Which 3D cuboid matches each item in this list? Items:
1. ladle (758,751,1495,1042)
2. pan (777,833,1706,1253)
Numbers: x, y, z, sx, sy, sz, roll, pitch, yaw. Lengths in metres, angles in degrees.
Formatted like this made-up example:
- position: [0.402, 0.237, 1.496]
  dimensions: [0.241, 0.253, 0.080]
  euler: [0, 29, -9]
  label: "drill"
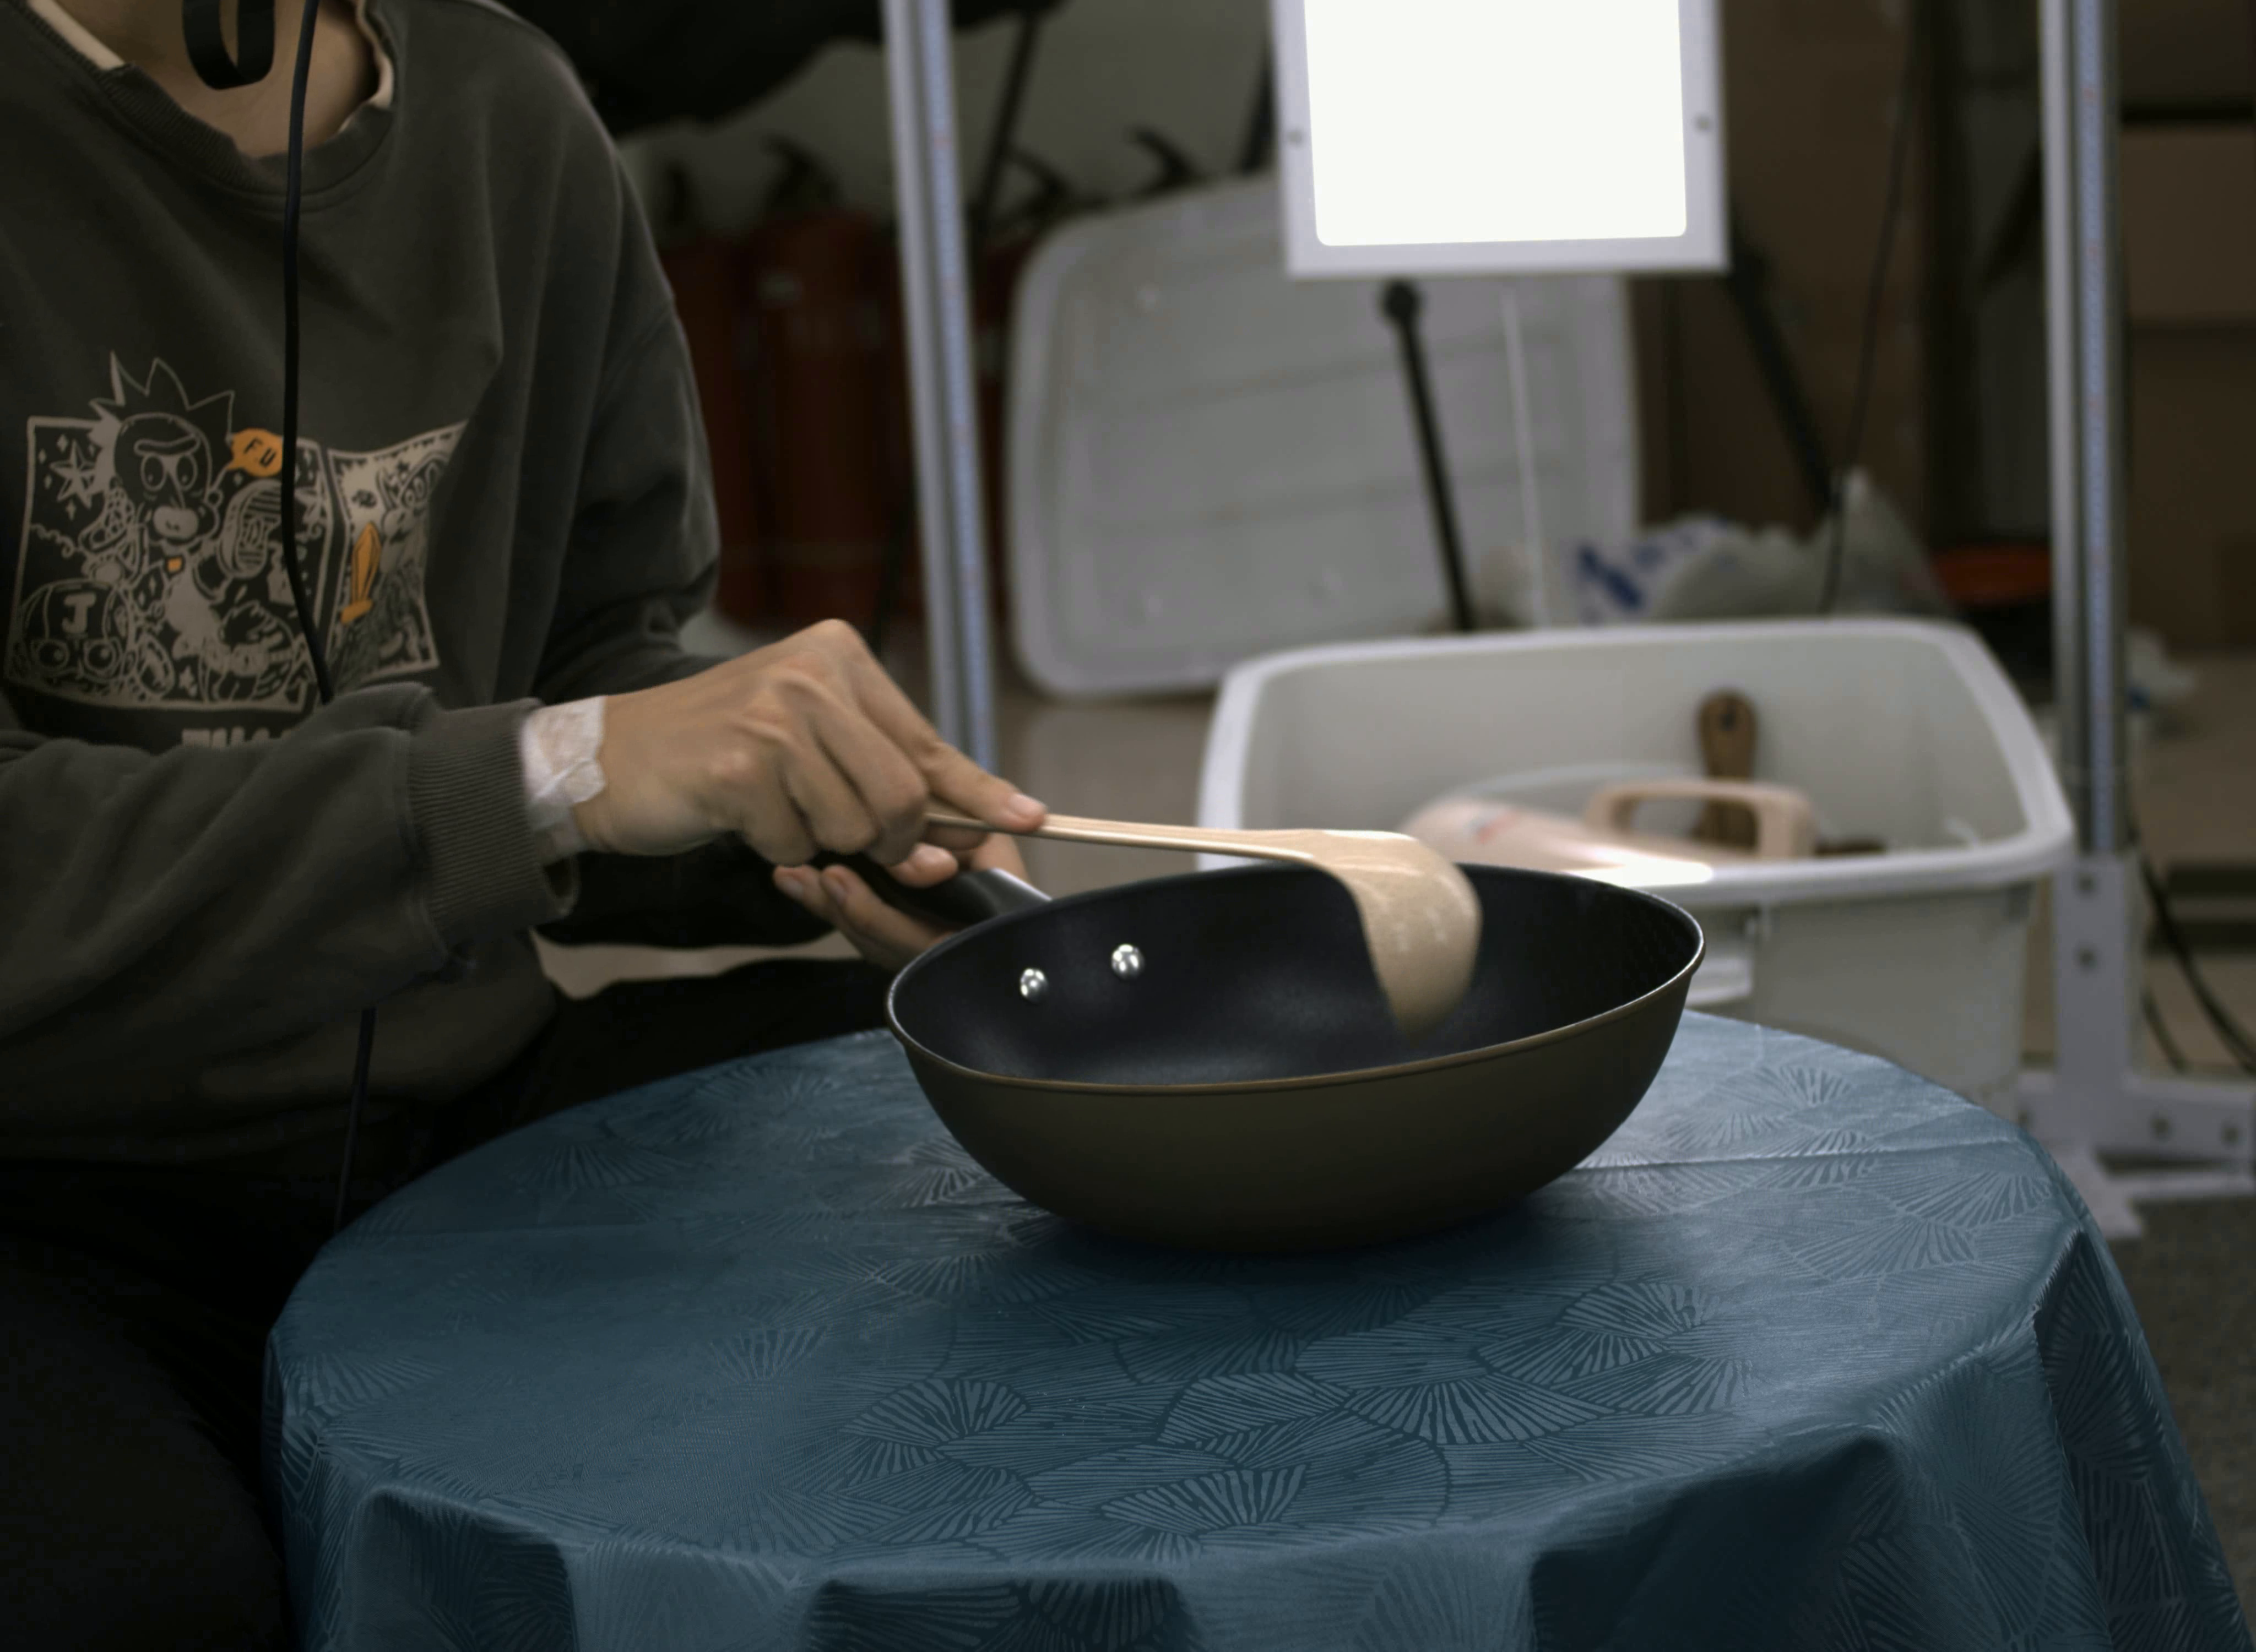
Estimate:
- position: [-0.003, 0.024, 1.875]
  dimensions: [0.254, 0.073, 0.071]
  euler: [7, 34, 3]
  label: "ladle"
- position: [0.004, 0.071, 1.946]
  dimensions: [0.281, 0.087, 0.473]
  euler: [-14, 15, -33]
  label: "pan"
